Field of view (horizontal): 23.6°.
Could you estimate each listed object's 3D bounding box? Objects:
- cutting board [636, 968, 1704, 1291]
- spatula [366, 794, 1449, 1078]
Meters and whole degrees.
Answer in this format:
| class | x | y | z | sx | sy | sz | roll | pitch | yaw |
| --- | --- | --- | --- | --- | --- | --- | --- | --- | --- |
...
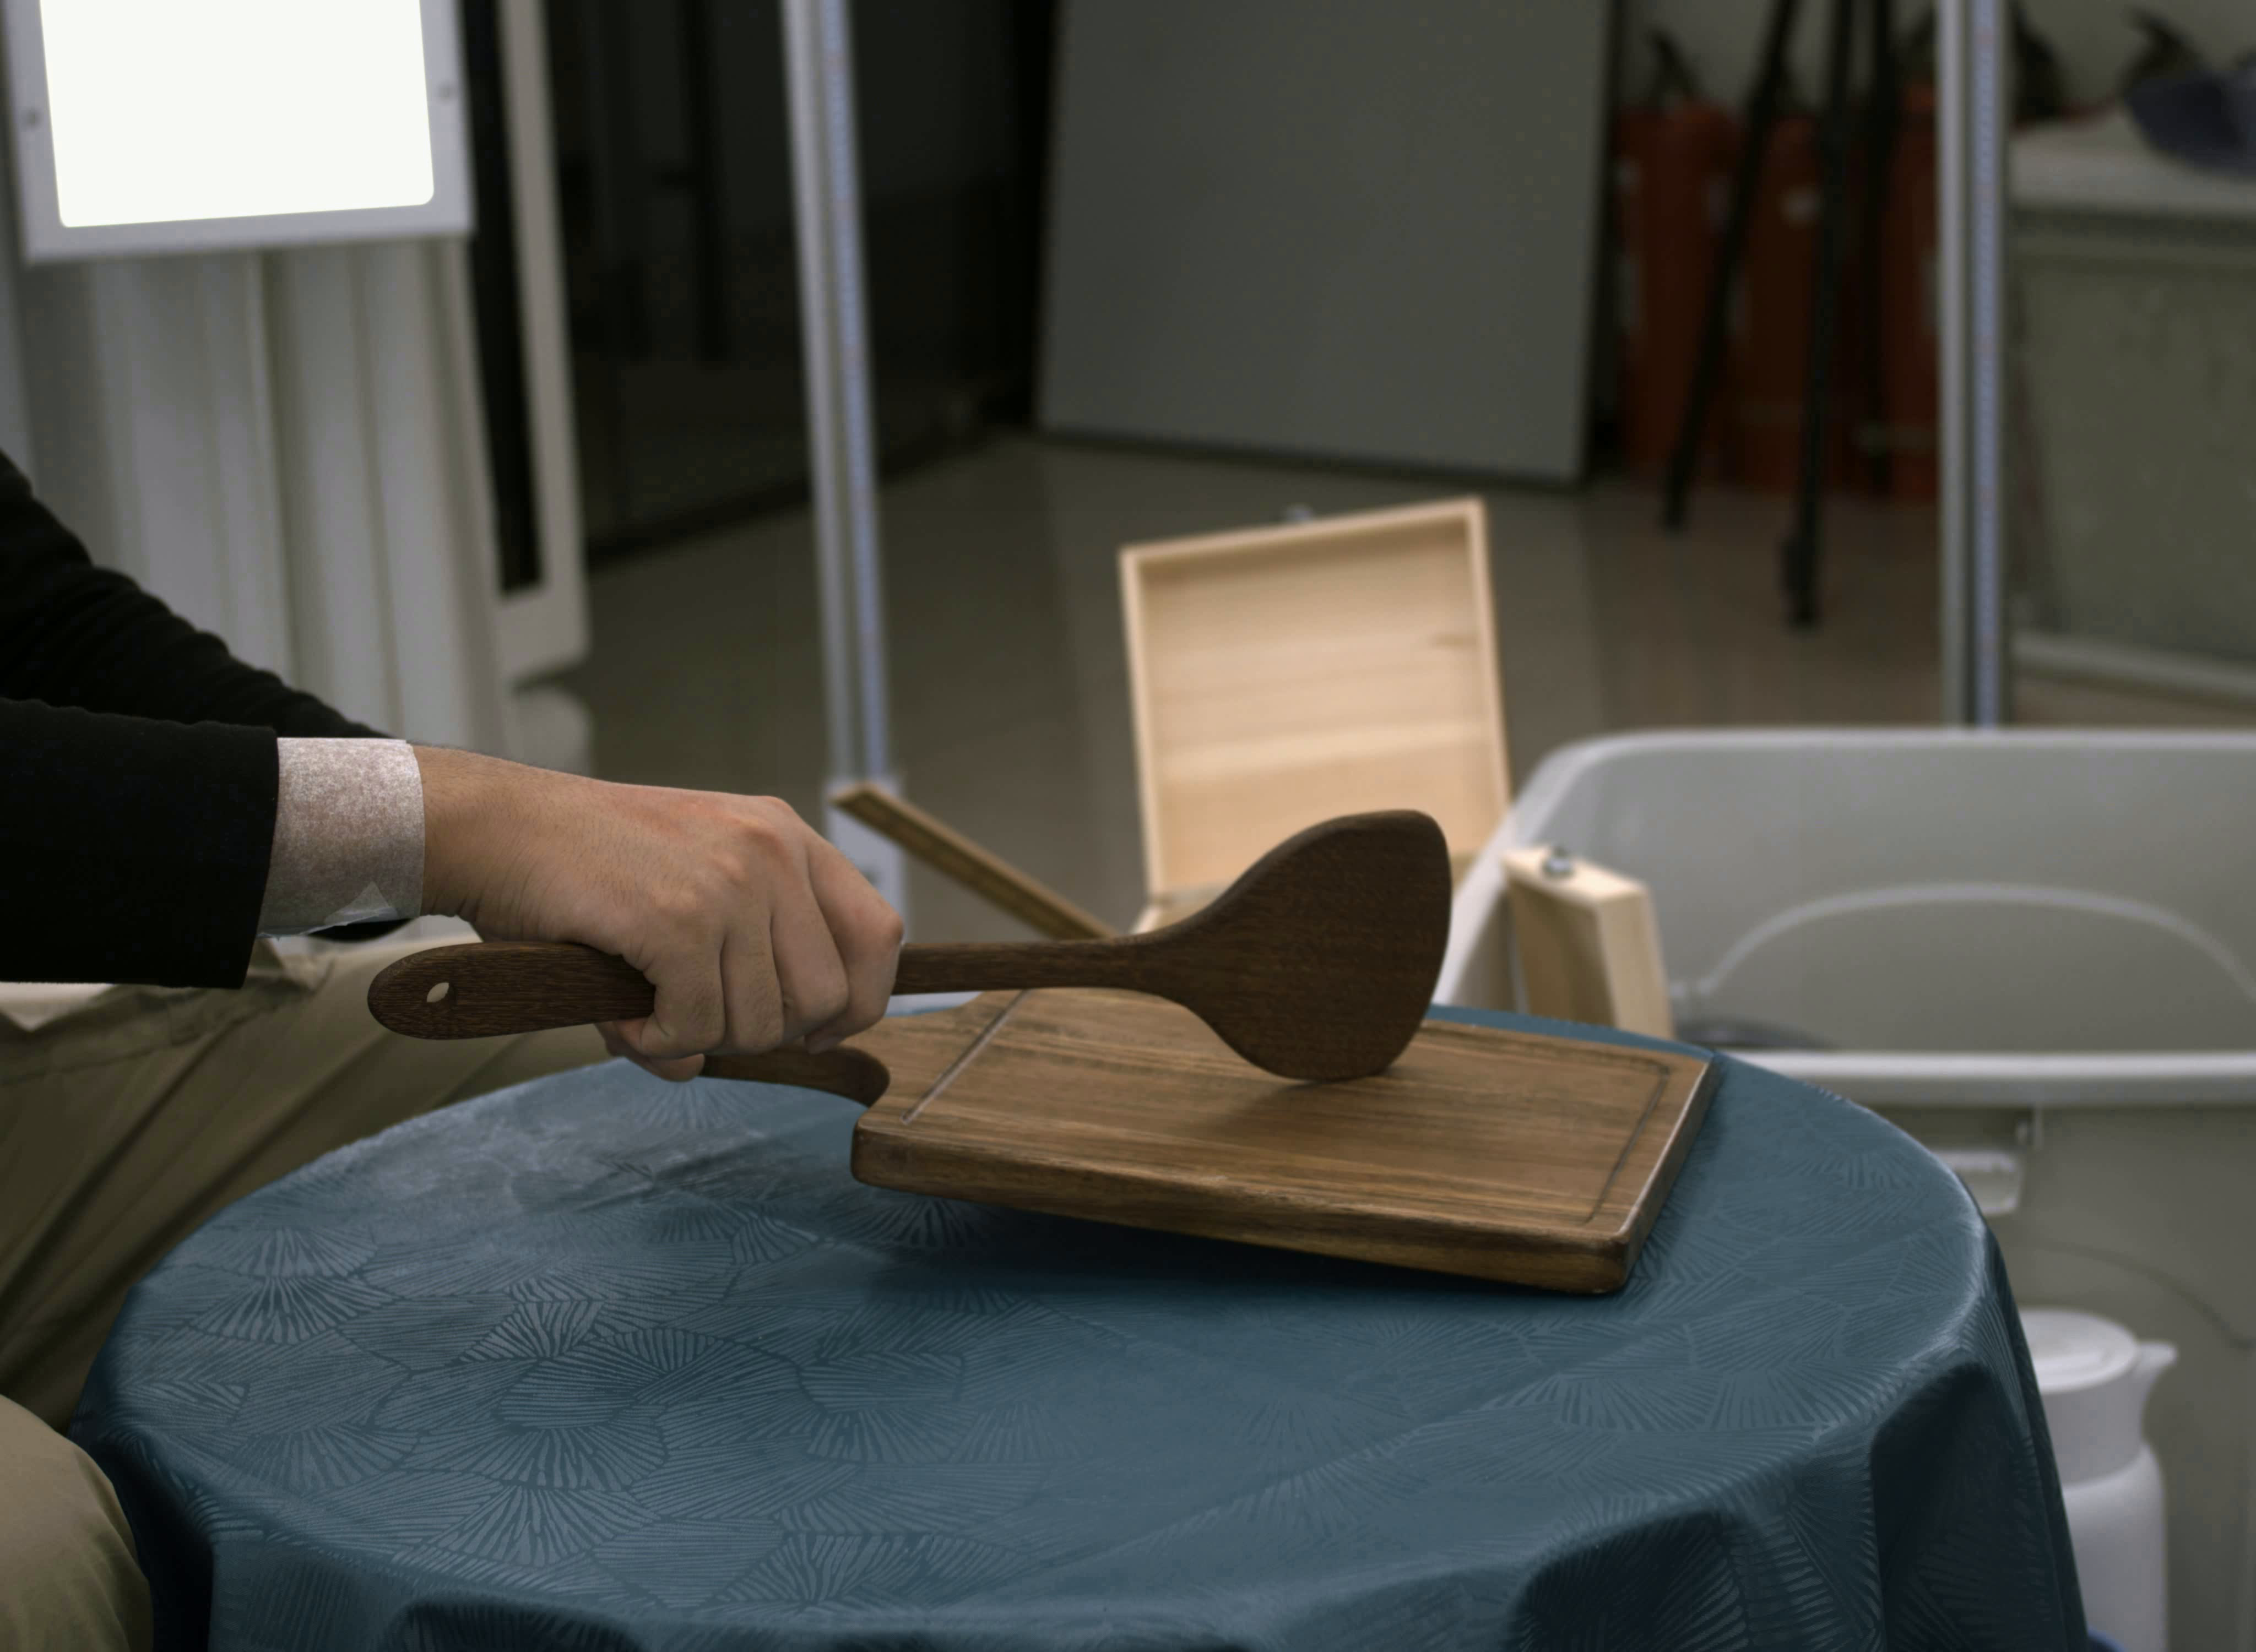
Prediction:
| class | x | y | z | sx | sy | sz | roll | pitch | yaw |
| --- | --- | --- | --- | --- | --- | --- | --- | --- | --- |
| cutting board | 0.007 | 0.089 | 1.764 | 0.350 | 0.023 | 0.199 | 7 | 16 | 14 |
| spatula | -0.060 | 0.041 | 1.693 | 0.377 | 0.097 | 0.016 | -1 | 18 | -28 |
